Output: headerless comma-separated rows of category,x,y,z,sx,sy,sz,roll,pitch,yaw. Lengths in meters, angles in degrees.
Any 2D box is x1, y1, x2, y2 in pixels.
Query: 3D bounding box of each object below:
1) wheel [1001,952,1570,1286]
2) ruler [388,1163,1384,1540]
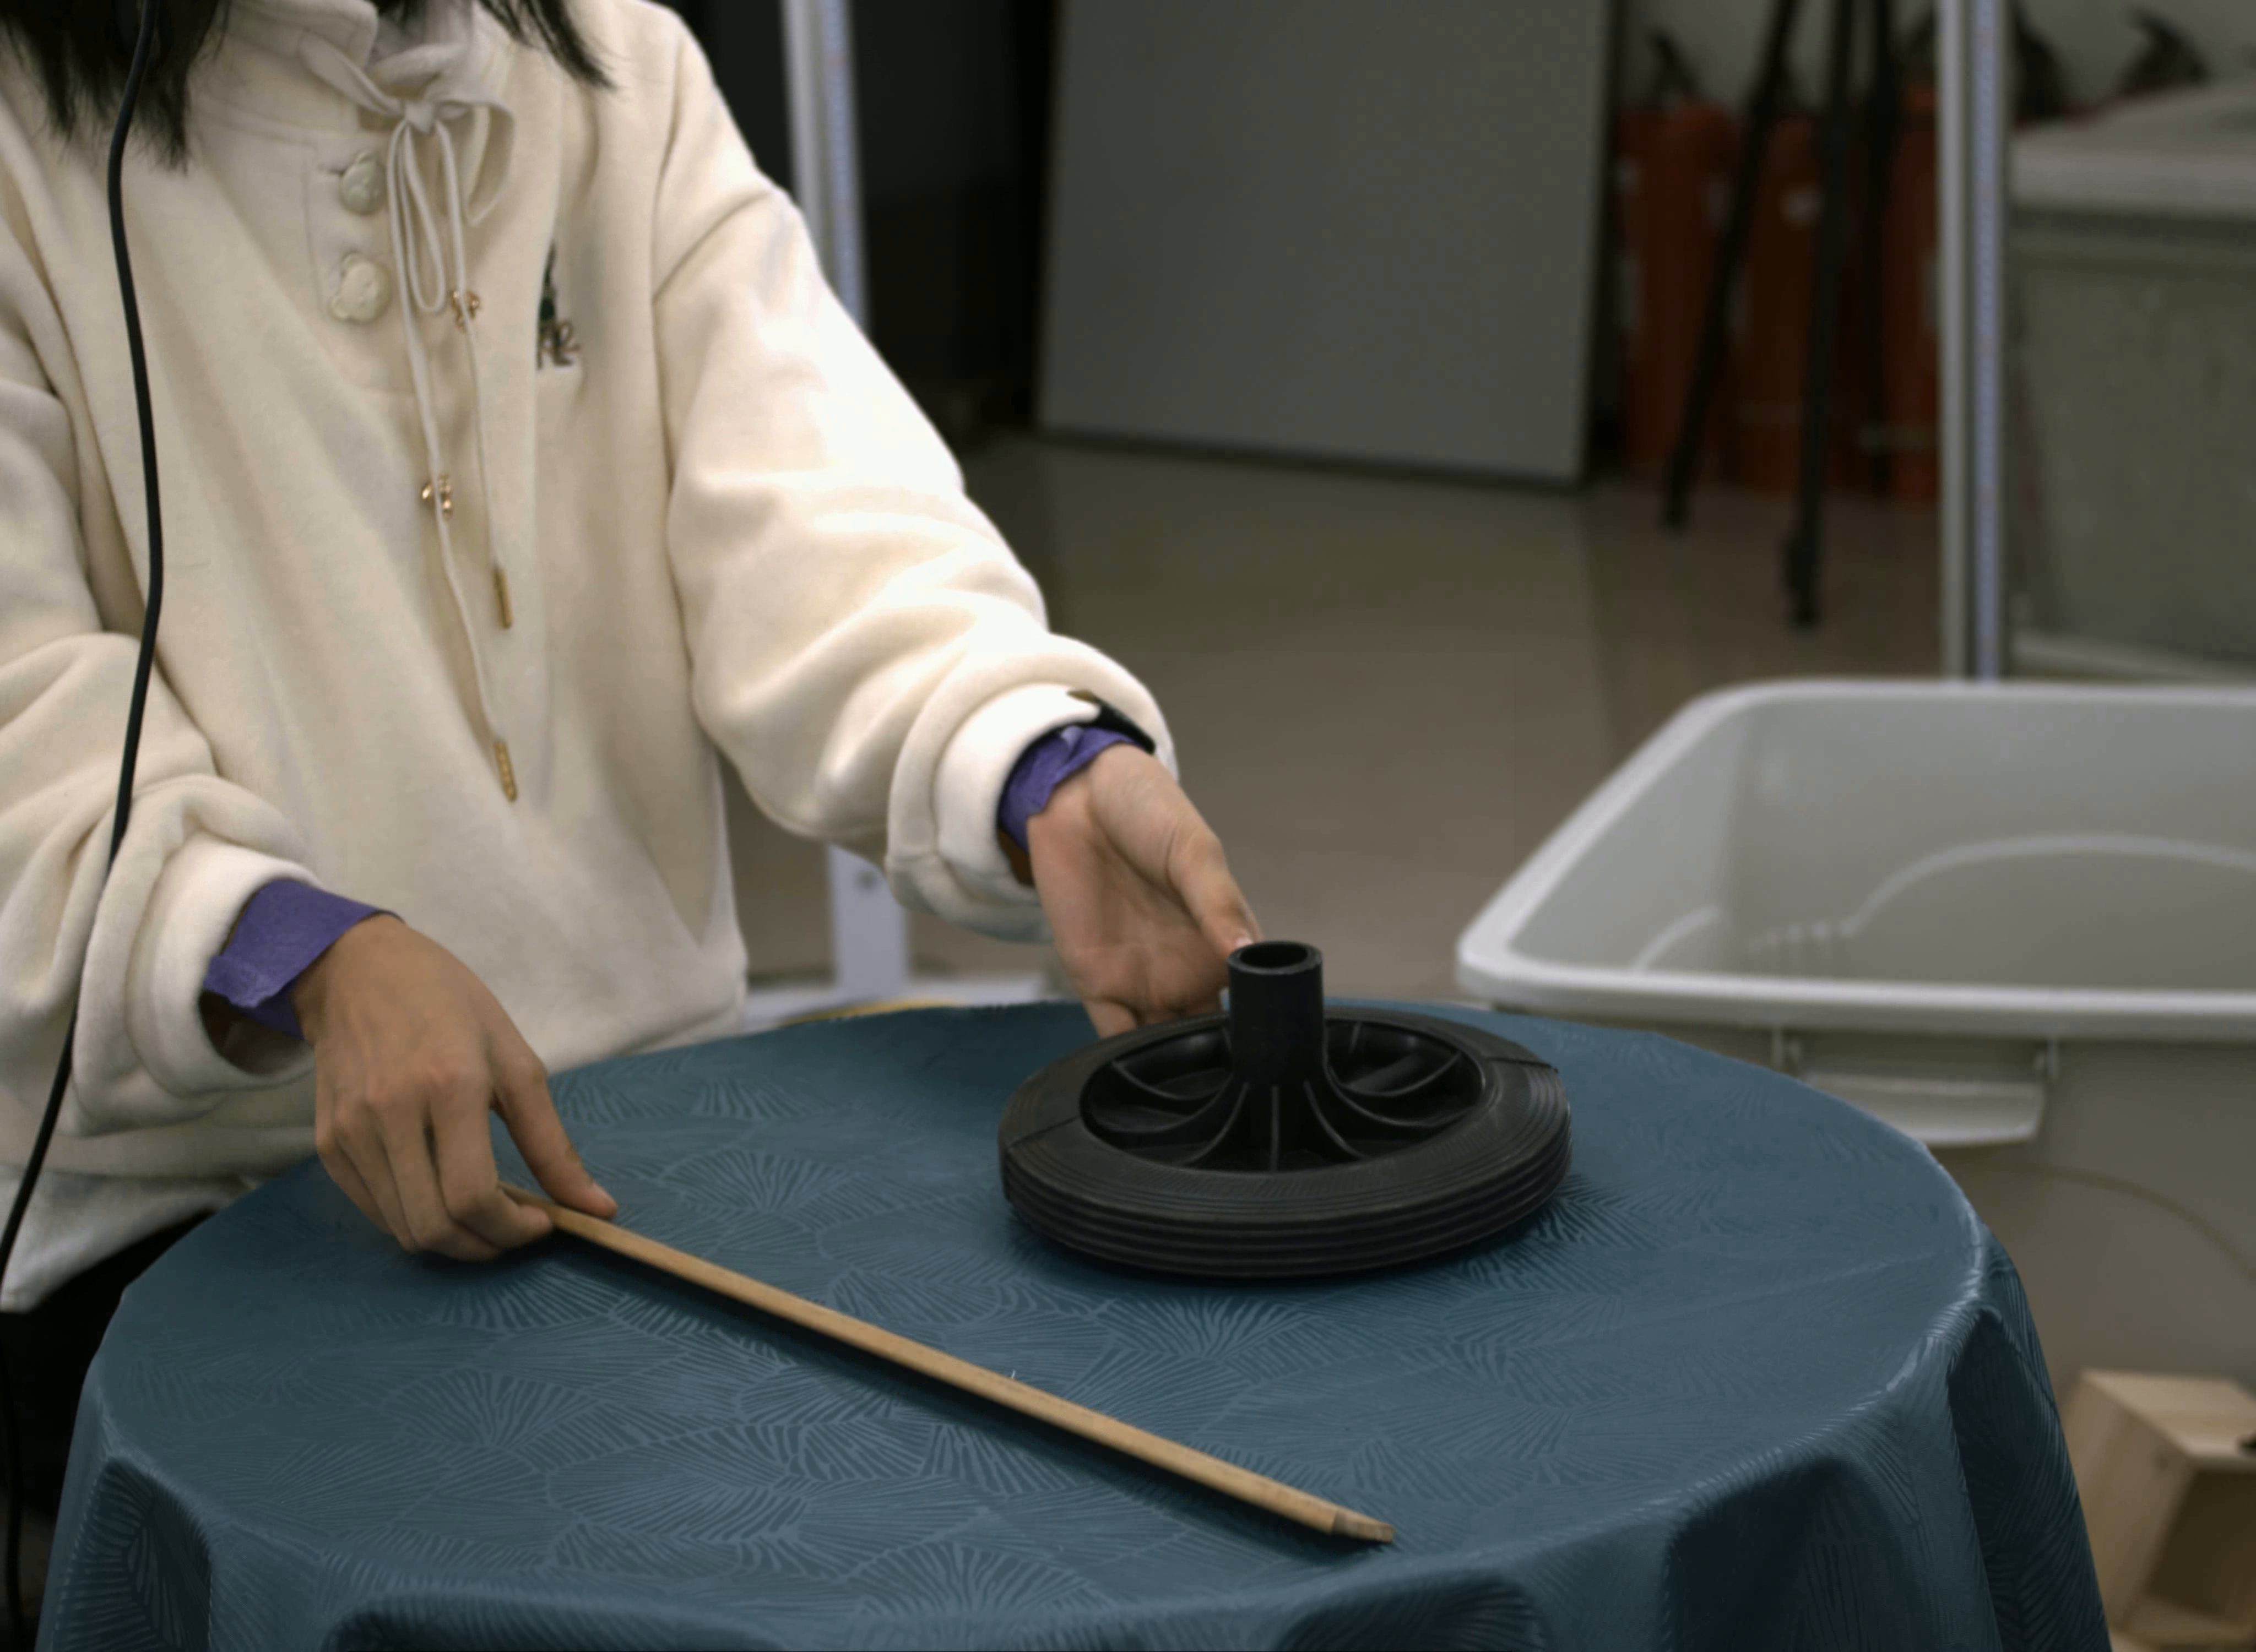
wheel,0.050,0.083,1.741,0.187,0.080,0.188,4,19,23
ruler,-0.091,0.153,1.643,0.026,0.006,0.506,7,4,-38
